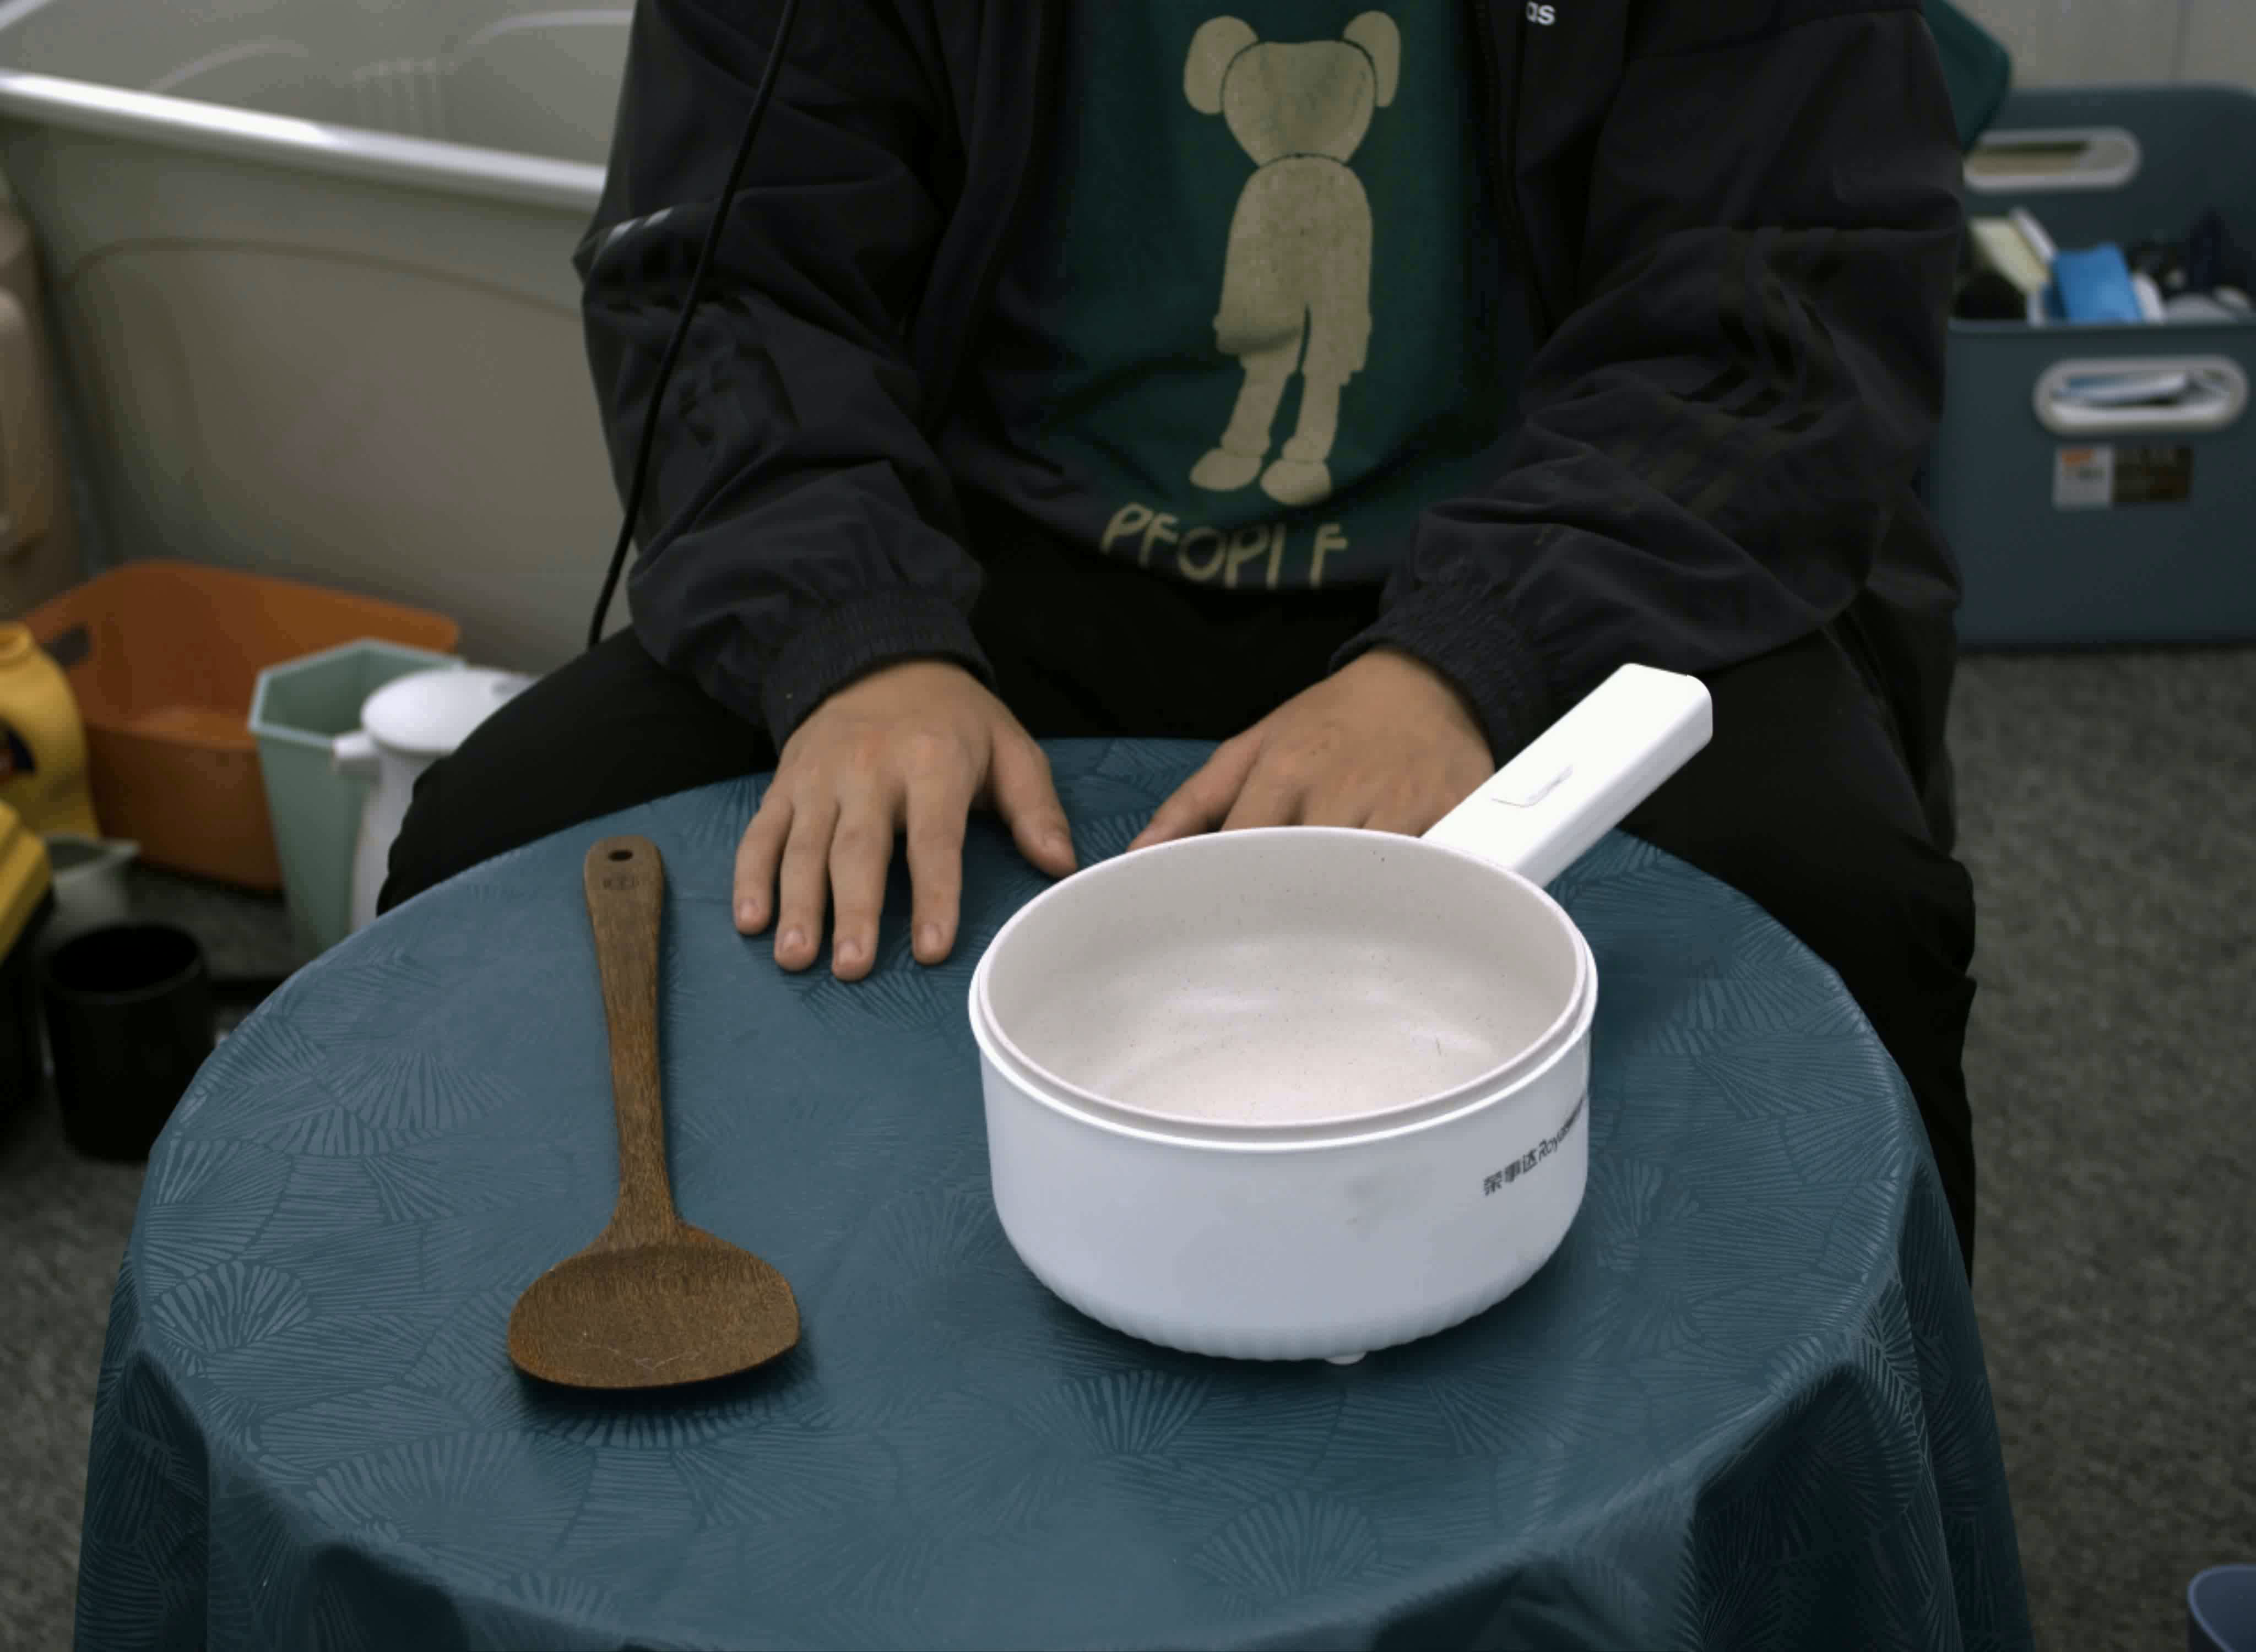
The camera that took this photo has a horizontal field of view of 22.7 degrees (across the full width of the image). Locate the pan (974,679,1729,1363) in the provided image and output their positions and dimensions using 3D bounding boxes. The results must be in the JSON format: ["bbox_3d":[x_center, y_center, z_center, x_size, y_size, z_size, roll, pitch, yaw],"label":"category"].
[{"bbox_3d":[0.095,0.060,1.865,0.200,0.101,0.360,14,30,31],"label":"pan"}]

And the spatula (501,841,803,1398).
[{"bbox_3d":[-0.168,0.092,1.918,0.096,0.015,0.391,-5,27,-5],"label":"spatula"}]
